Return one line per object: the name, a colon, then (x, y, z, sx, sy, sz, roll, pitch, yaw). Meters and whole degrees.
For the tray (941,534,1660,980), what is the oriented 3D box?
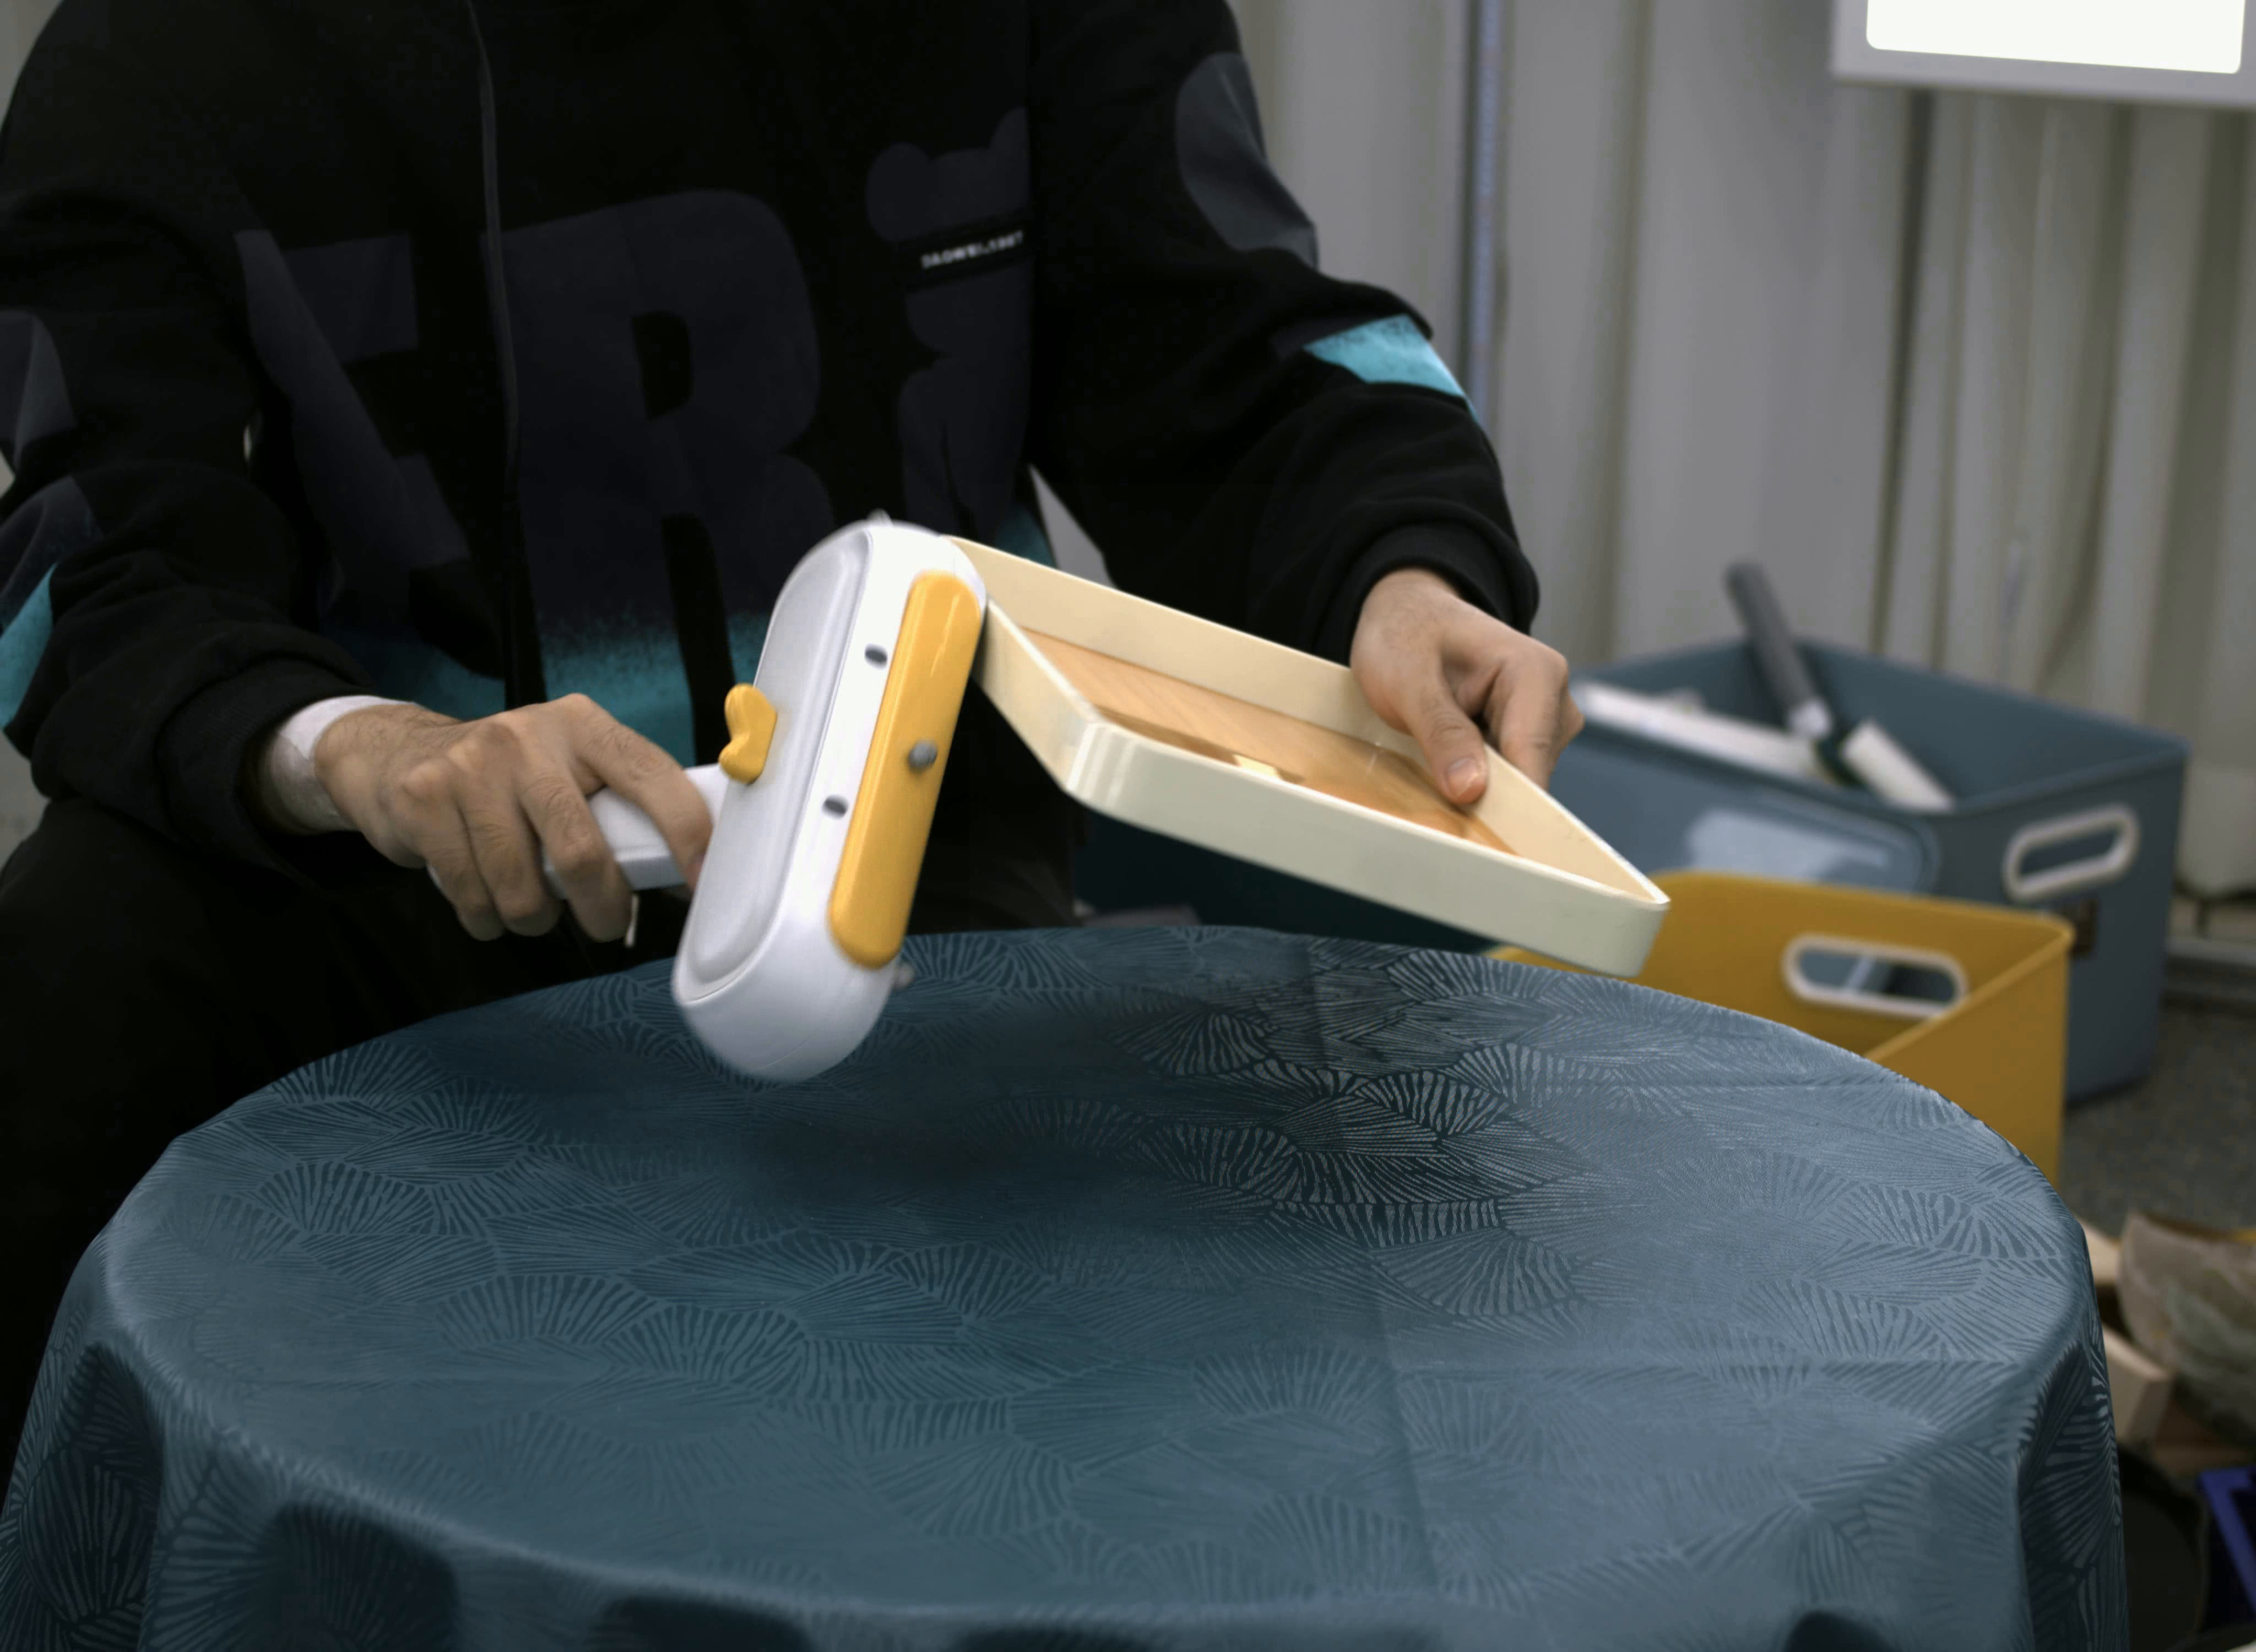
tray: (0.043, -0.025, 1.673, 0.192, 0.027, 0.298, 19, 9, -16)

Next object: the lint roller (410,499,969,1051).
lint roller: (-0.143, -0.004, 1.664, 0.191, 0.191, 0.075, -21, -43, 35)
